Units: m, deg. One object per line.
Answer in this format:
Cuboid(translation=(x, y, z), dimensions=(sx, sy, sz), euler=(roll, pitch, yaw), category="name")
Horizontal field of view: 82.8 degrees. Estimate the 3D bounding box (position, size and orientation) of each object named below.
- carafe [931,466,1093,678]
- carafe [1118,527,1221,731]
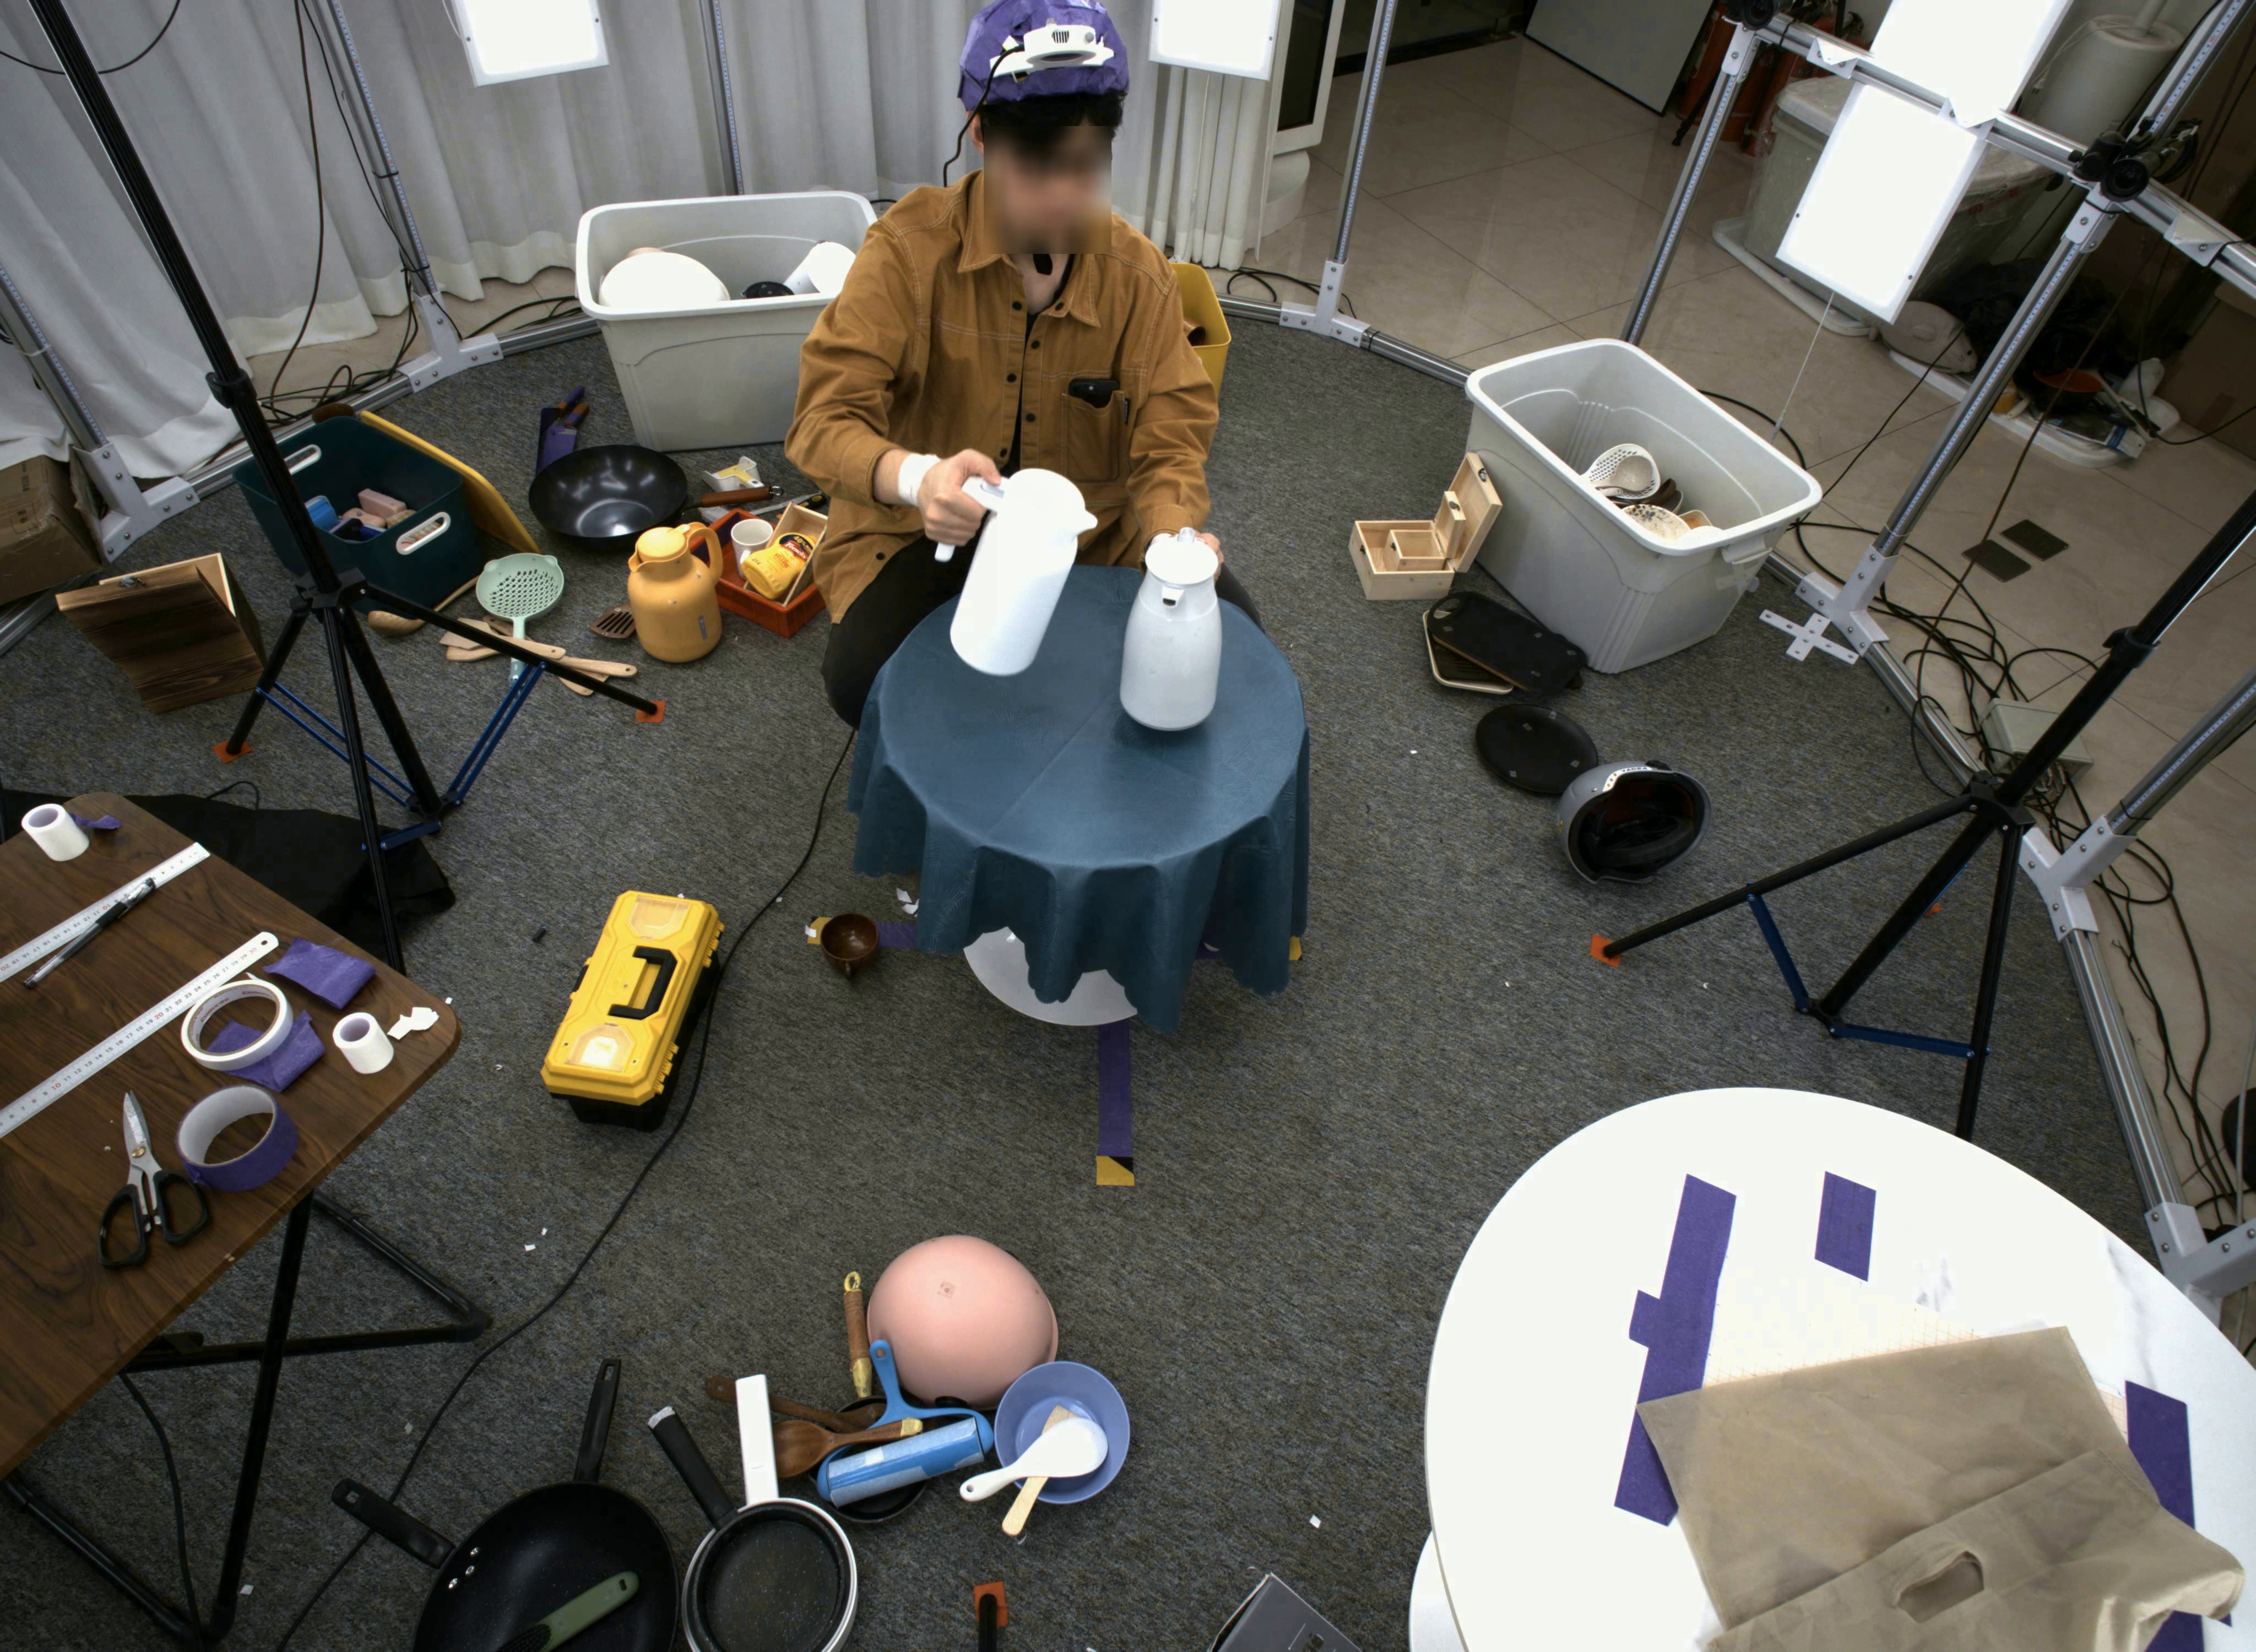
Cuboid(translation=(-0.158, -0.314, 1.600), dimensions=(0.172, 0.263, 0.126), euler=(18, 53, -7), category="carafe")
Cuboid(translation=(0.063, -0.272, 1.696), dimensions=(0.133, 0.242, 0.171), euler=(12, 48, 7), category="carafe")
